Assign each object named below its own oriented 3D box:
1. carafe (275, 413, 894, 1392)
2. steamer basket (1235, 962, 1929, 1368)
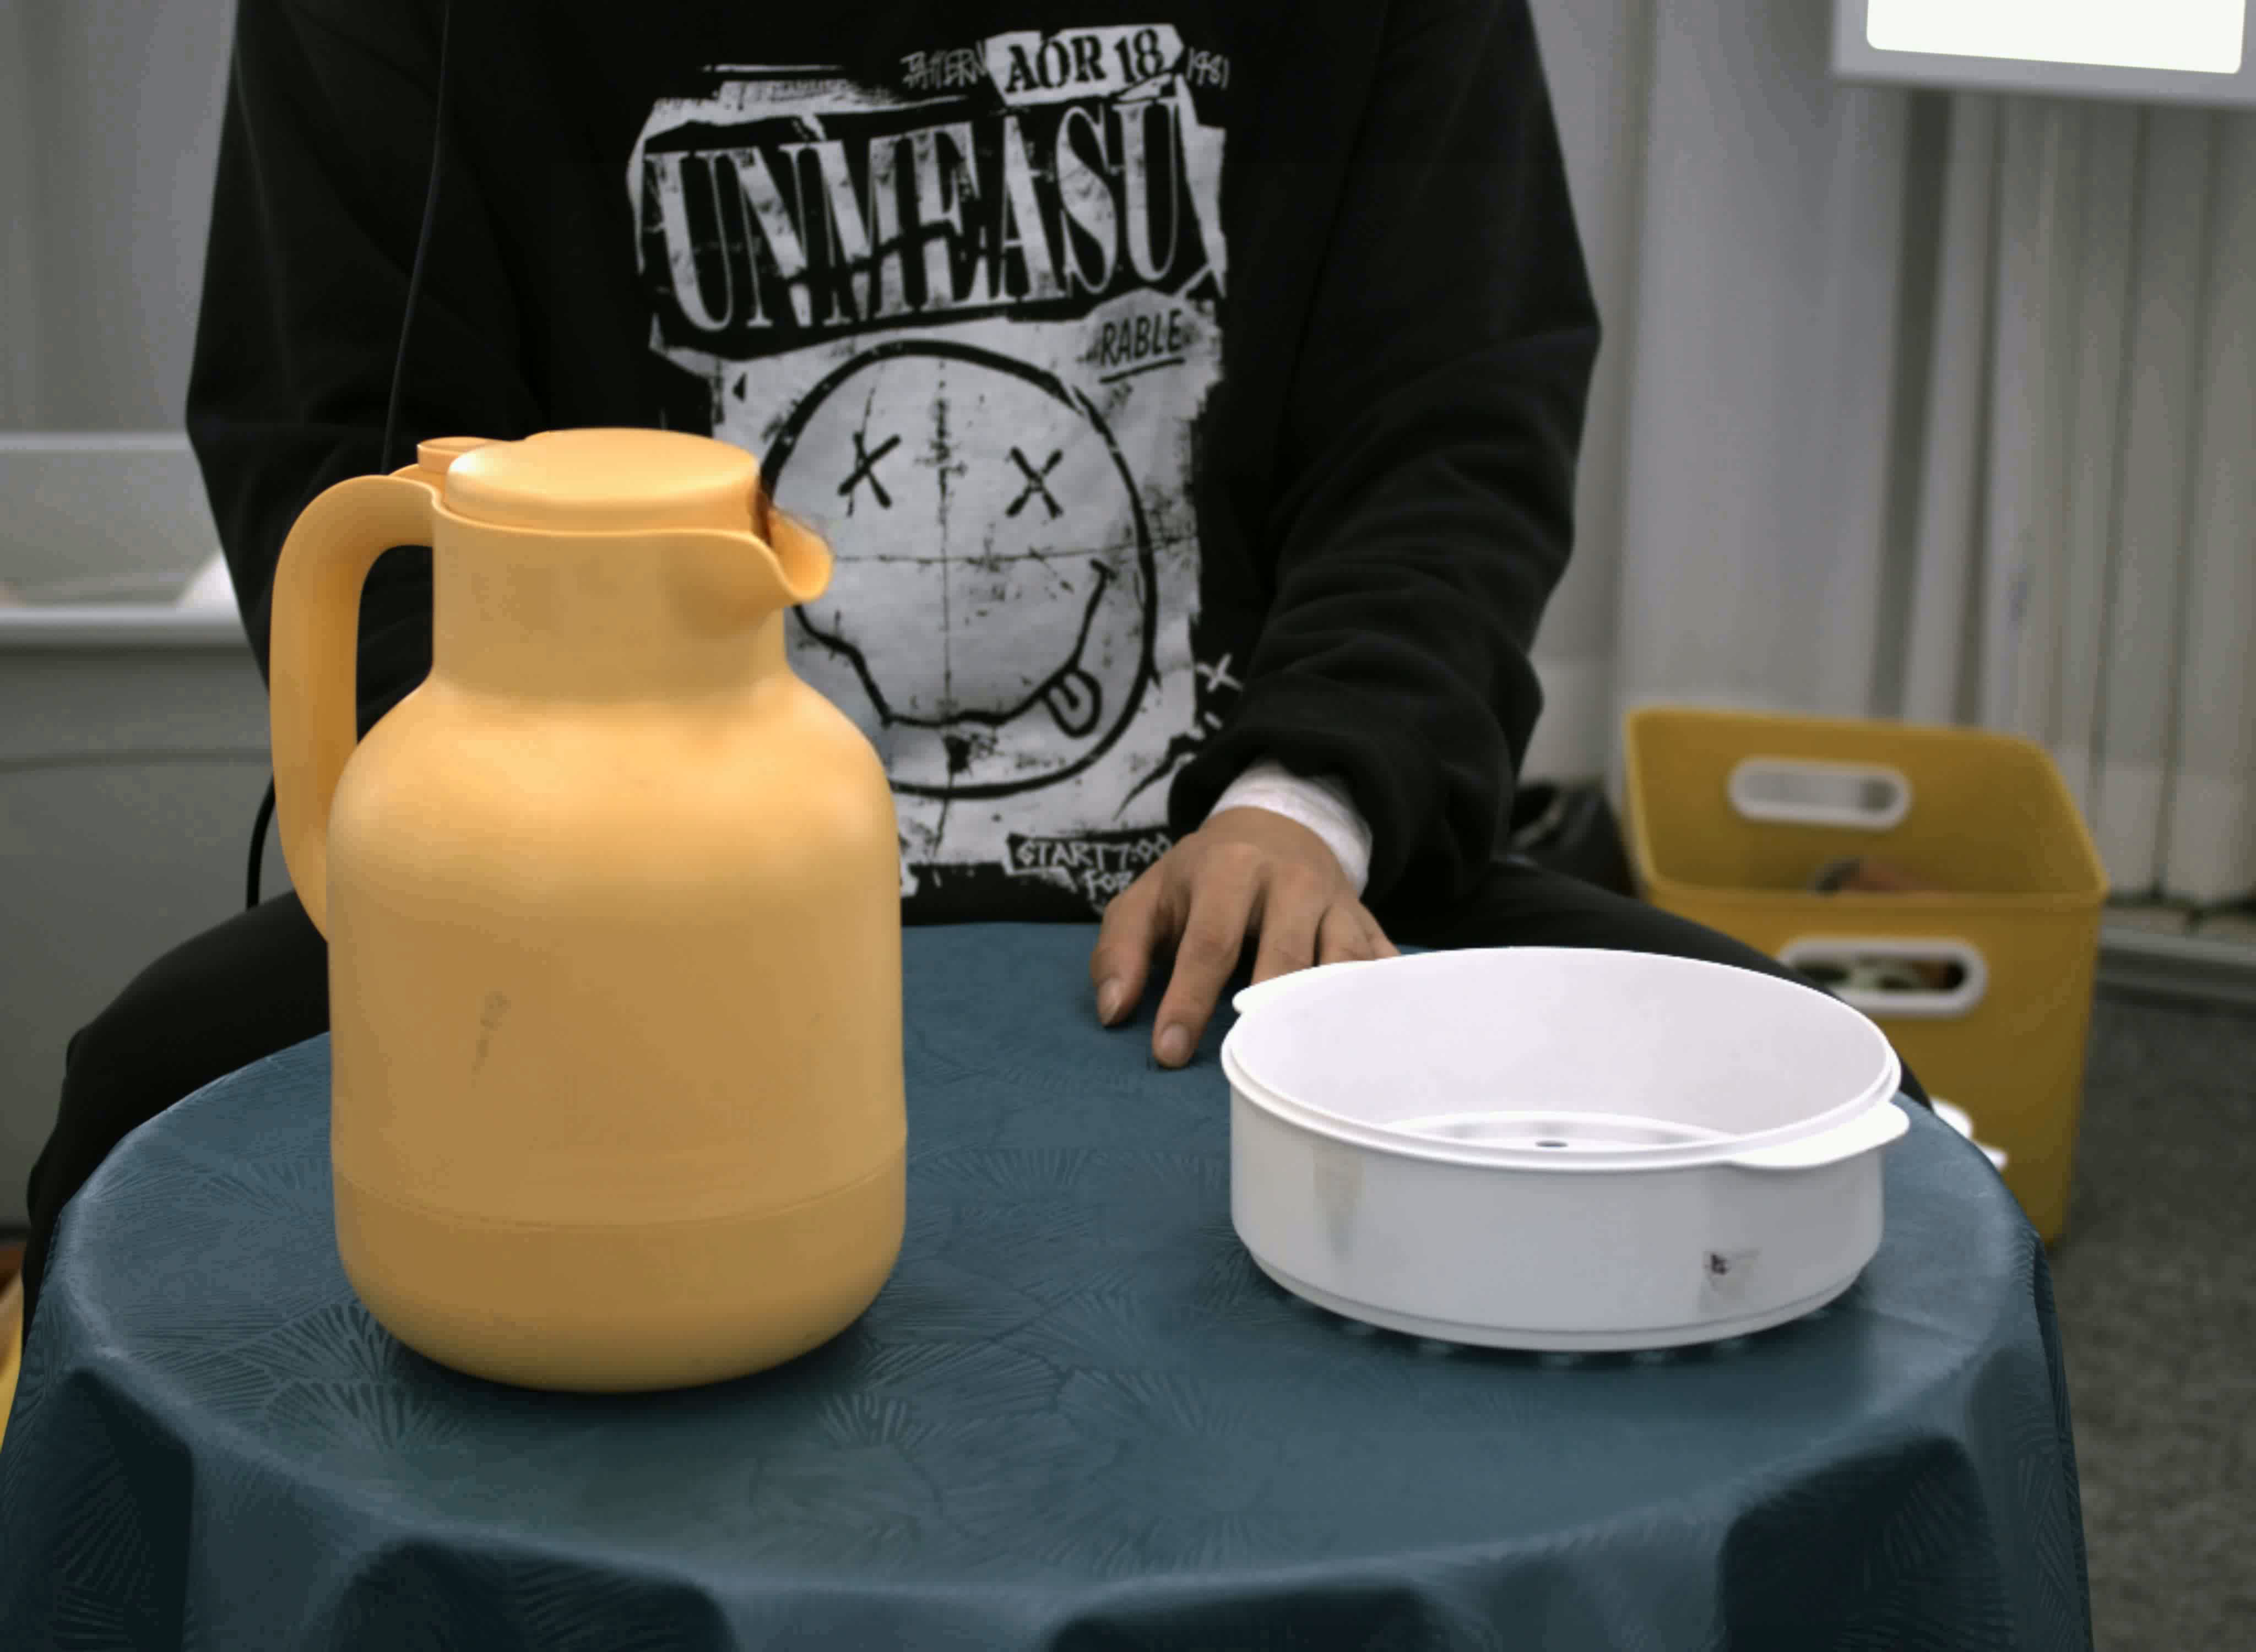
[{"bbox_3d":[-0.160,0.013,1.481,0.200,0.262,0.164,15,19,36],"label":"carafe"},{"bbox_3d":[0.132,0.100,1.559,0.227,0.070,0.203,15,22,43],"label":"steamer basket"}]
